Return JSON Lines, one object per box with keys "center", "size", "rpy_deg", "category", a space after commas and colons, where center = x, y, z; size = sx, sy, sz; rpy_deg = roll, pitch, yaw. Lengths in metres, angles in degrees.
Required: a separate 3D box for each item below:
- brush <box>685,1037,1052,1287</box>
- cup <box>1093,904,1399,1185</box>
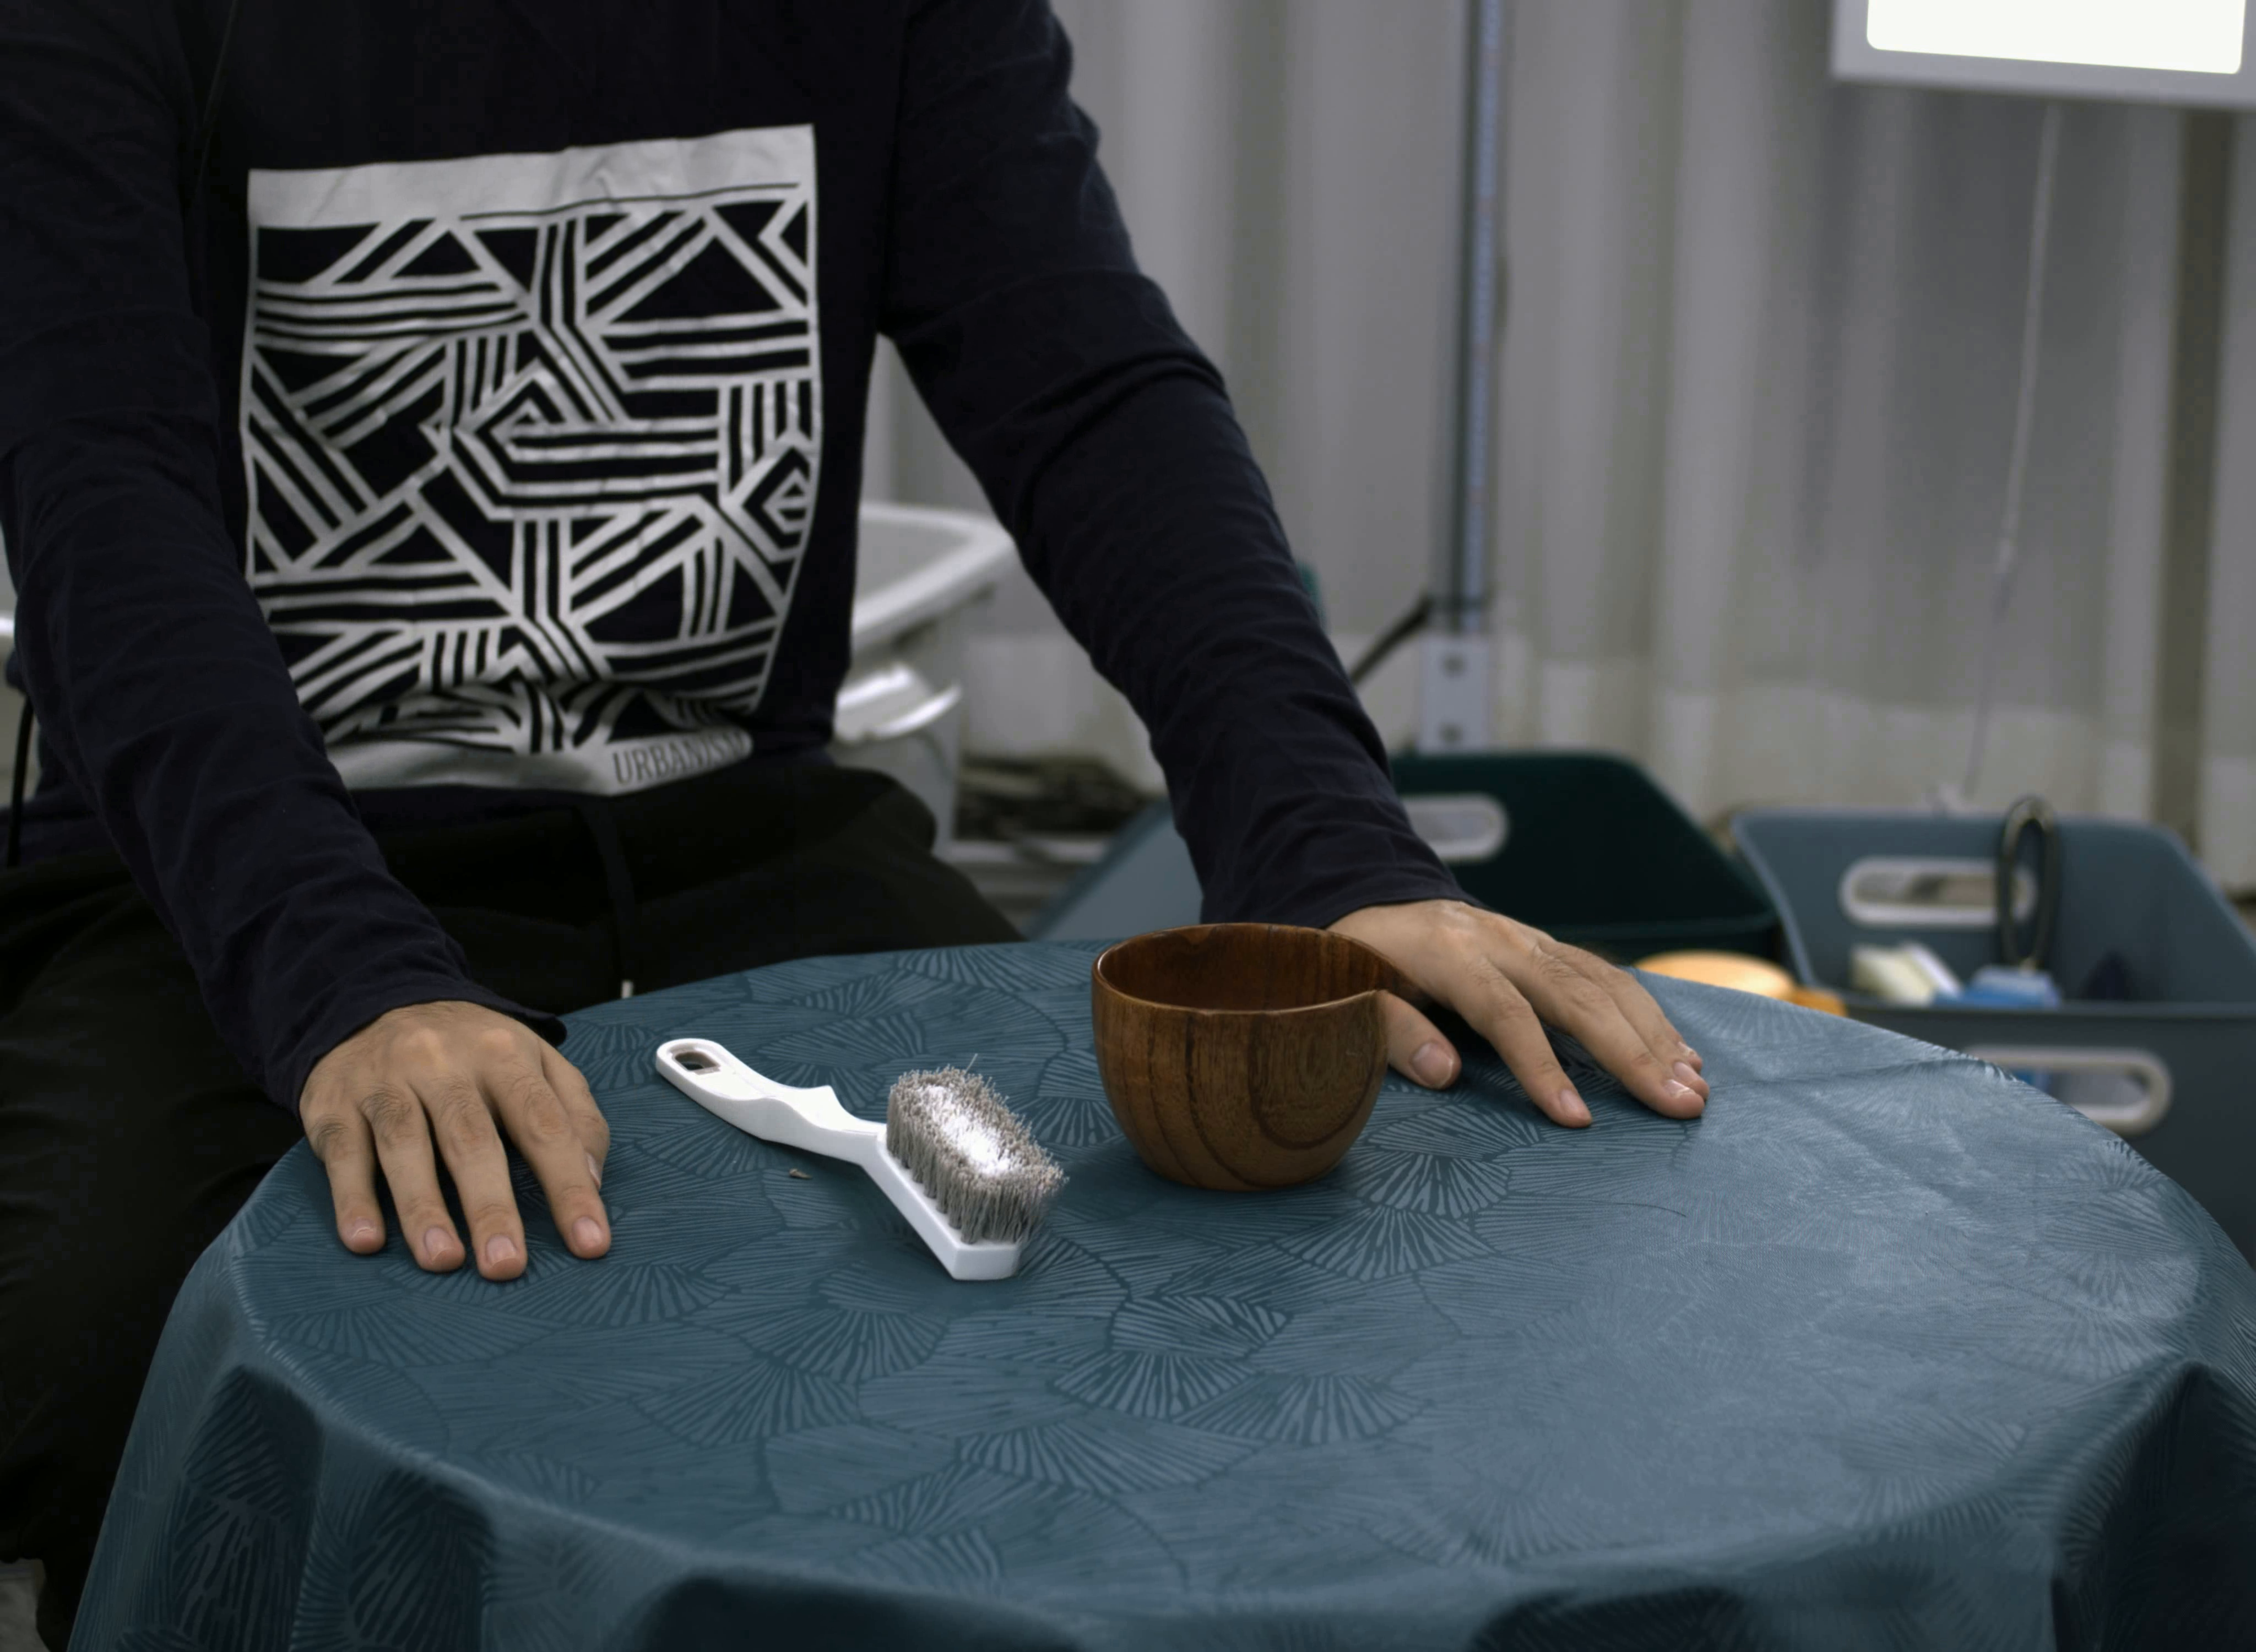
{"center": [-0.087, 0.084, 1.635], "size": [0.034, 0.051, 0.240], "rpy_deg": [-13, 20, -24], "category": "brush"}
{"center": [0.033, 0.067, 1.658], "size": [0.096, 0.068, 0.118], "rpy_deg": [-7, 20, -19], "category": "cup"}
